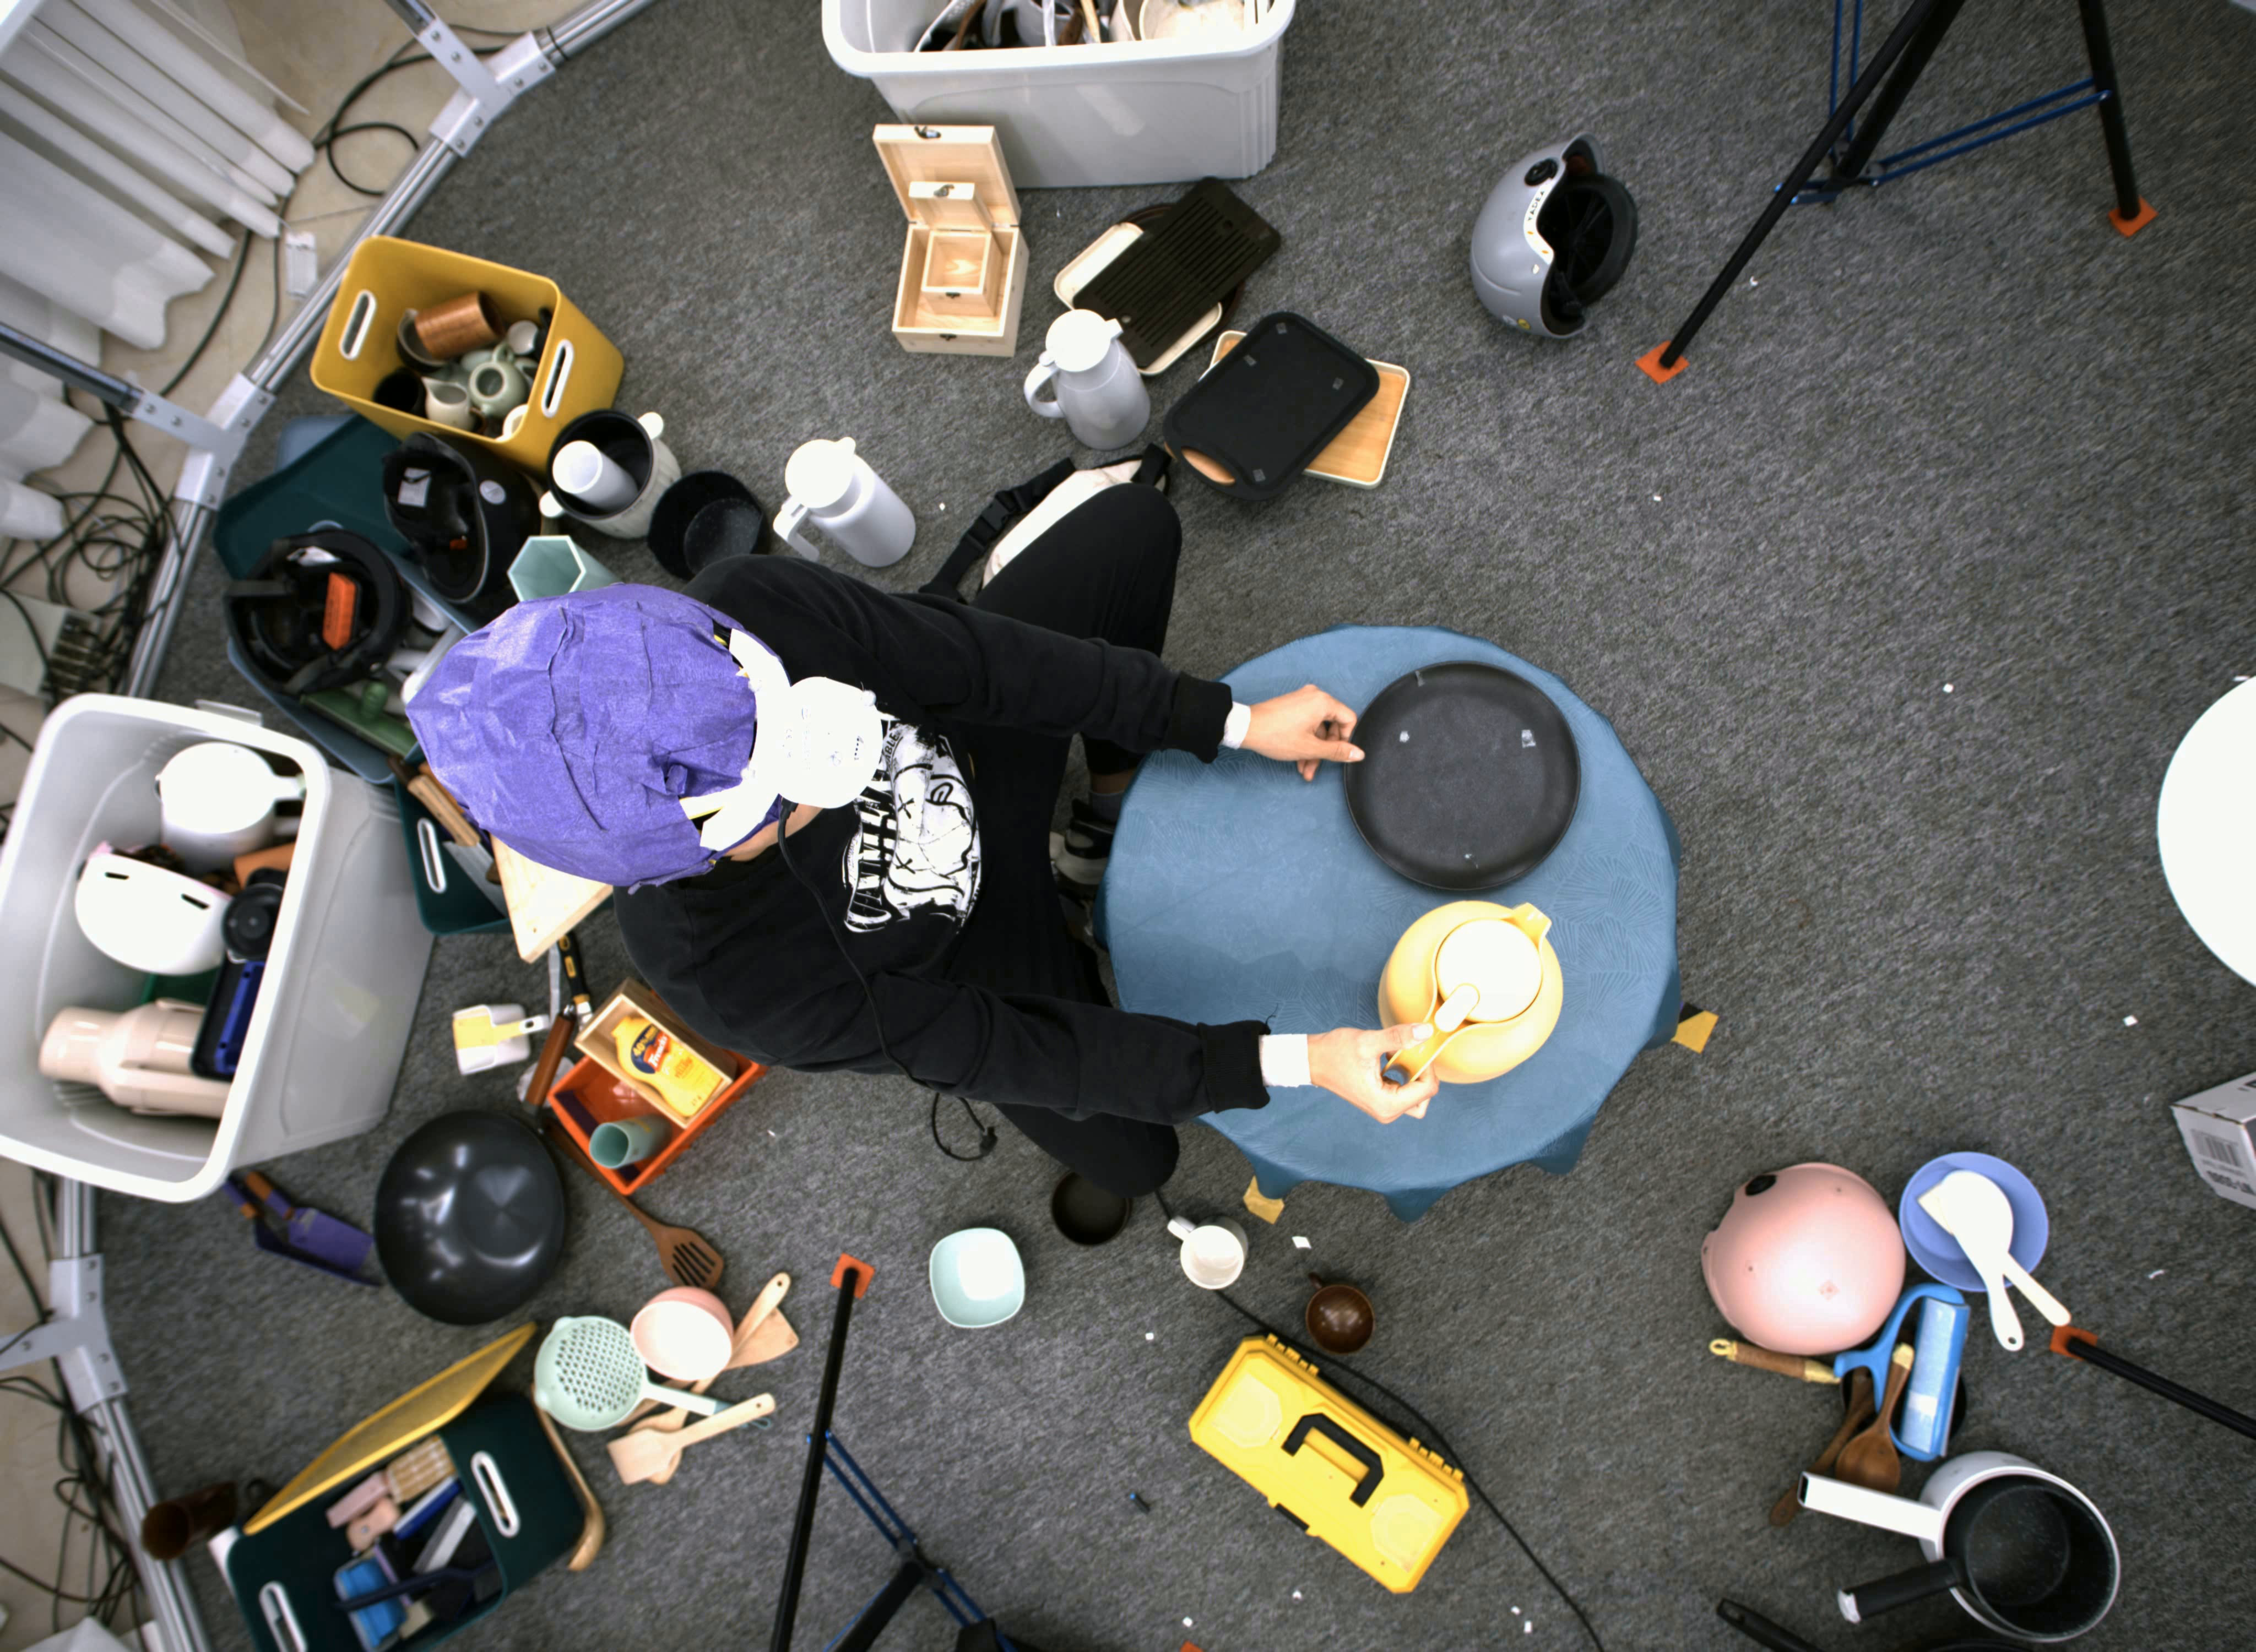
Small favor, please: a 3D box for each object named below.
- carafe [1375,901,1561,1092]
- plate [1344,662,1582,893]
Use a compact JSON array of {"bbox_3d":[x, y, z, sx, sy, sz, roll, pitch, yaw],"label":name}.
[{"bbox_3d":[0.306,0.164,1.291,0.162,0.263,0.201,43,83,16],"label":"carafe"},{"bbox_3d":[0.349,-0.053,1.438,0.245,0.023,0.243,-1,87,10],"label":"plate"}]
